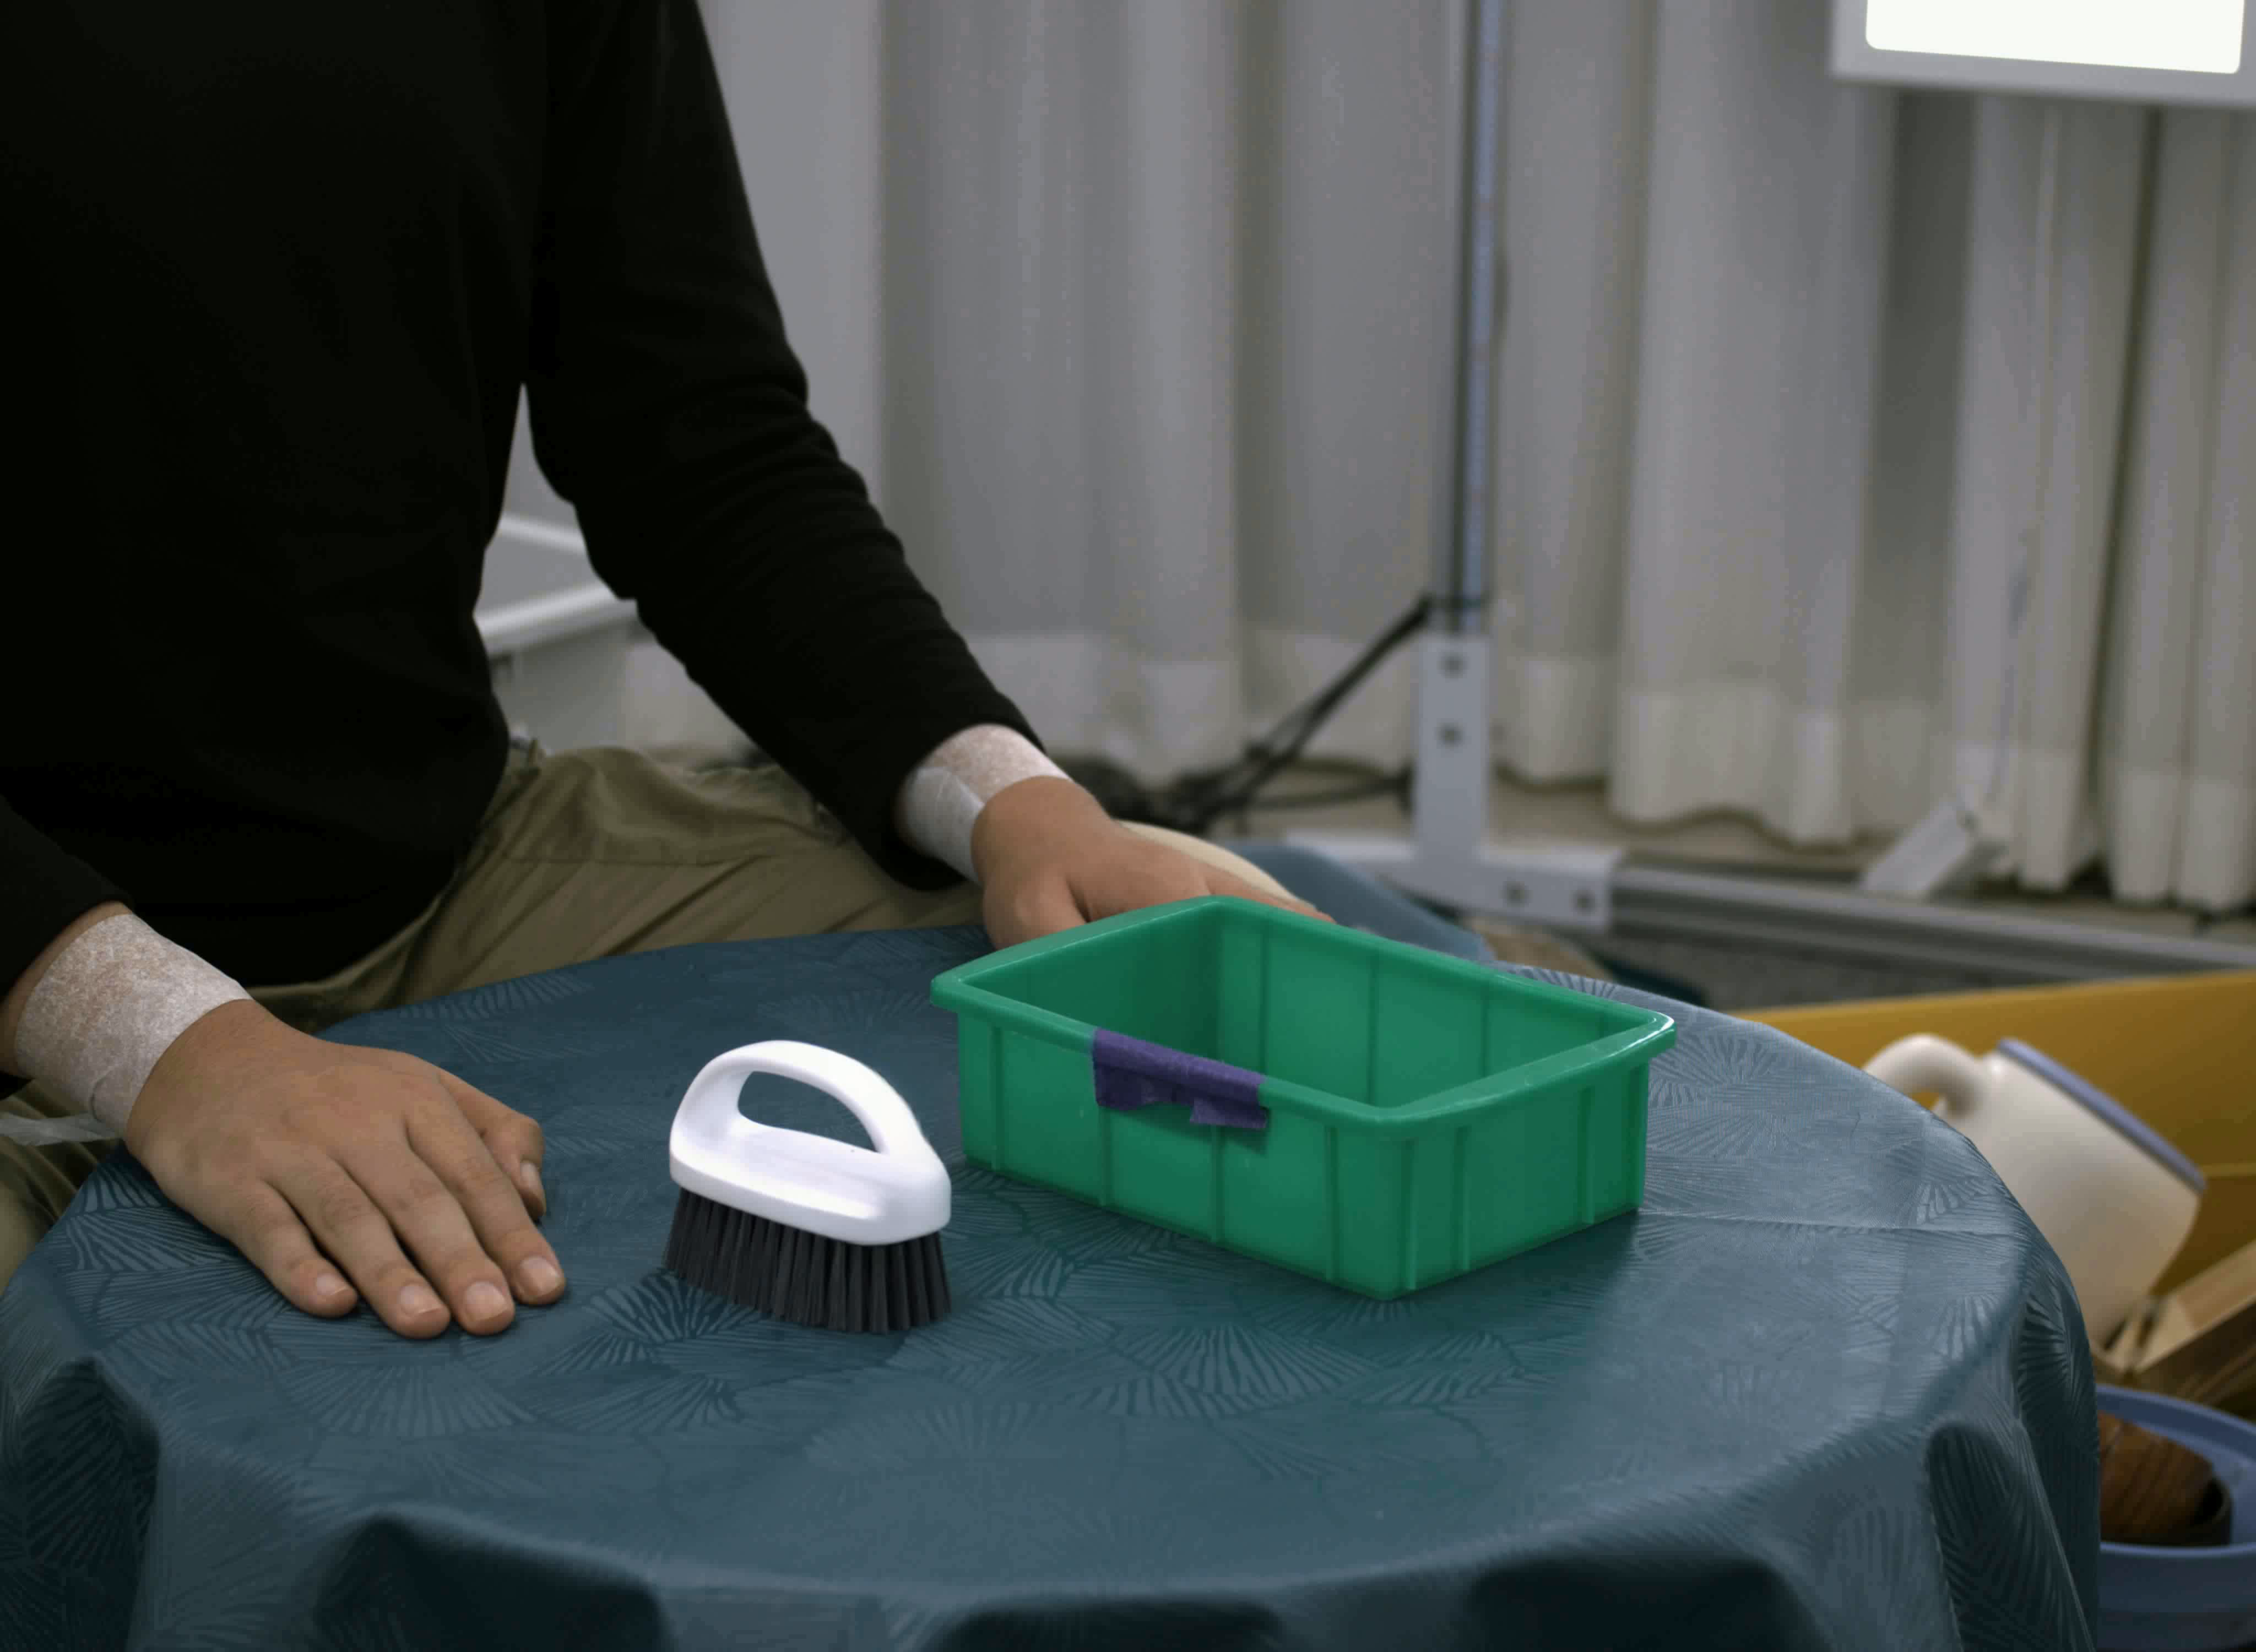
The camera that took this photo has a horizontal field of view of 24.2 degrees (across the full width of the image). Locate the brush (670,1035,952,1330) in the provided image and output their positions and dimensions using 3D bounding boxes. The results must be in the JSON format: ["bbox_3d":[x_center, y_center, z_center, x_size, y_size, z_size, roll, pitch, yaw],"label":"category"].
[{"bbox_3d":[-0.094,0.098,1.529,0.098,0.073,0.050,15,23,43],"label":"brush"}]

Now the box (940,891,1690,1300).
[{"bbox_3d":[0.056,0.082,1.617,0.207,0.066,0.139,15,24,40],"label":"box"}]
